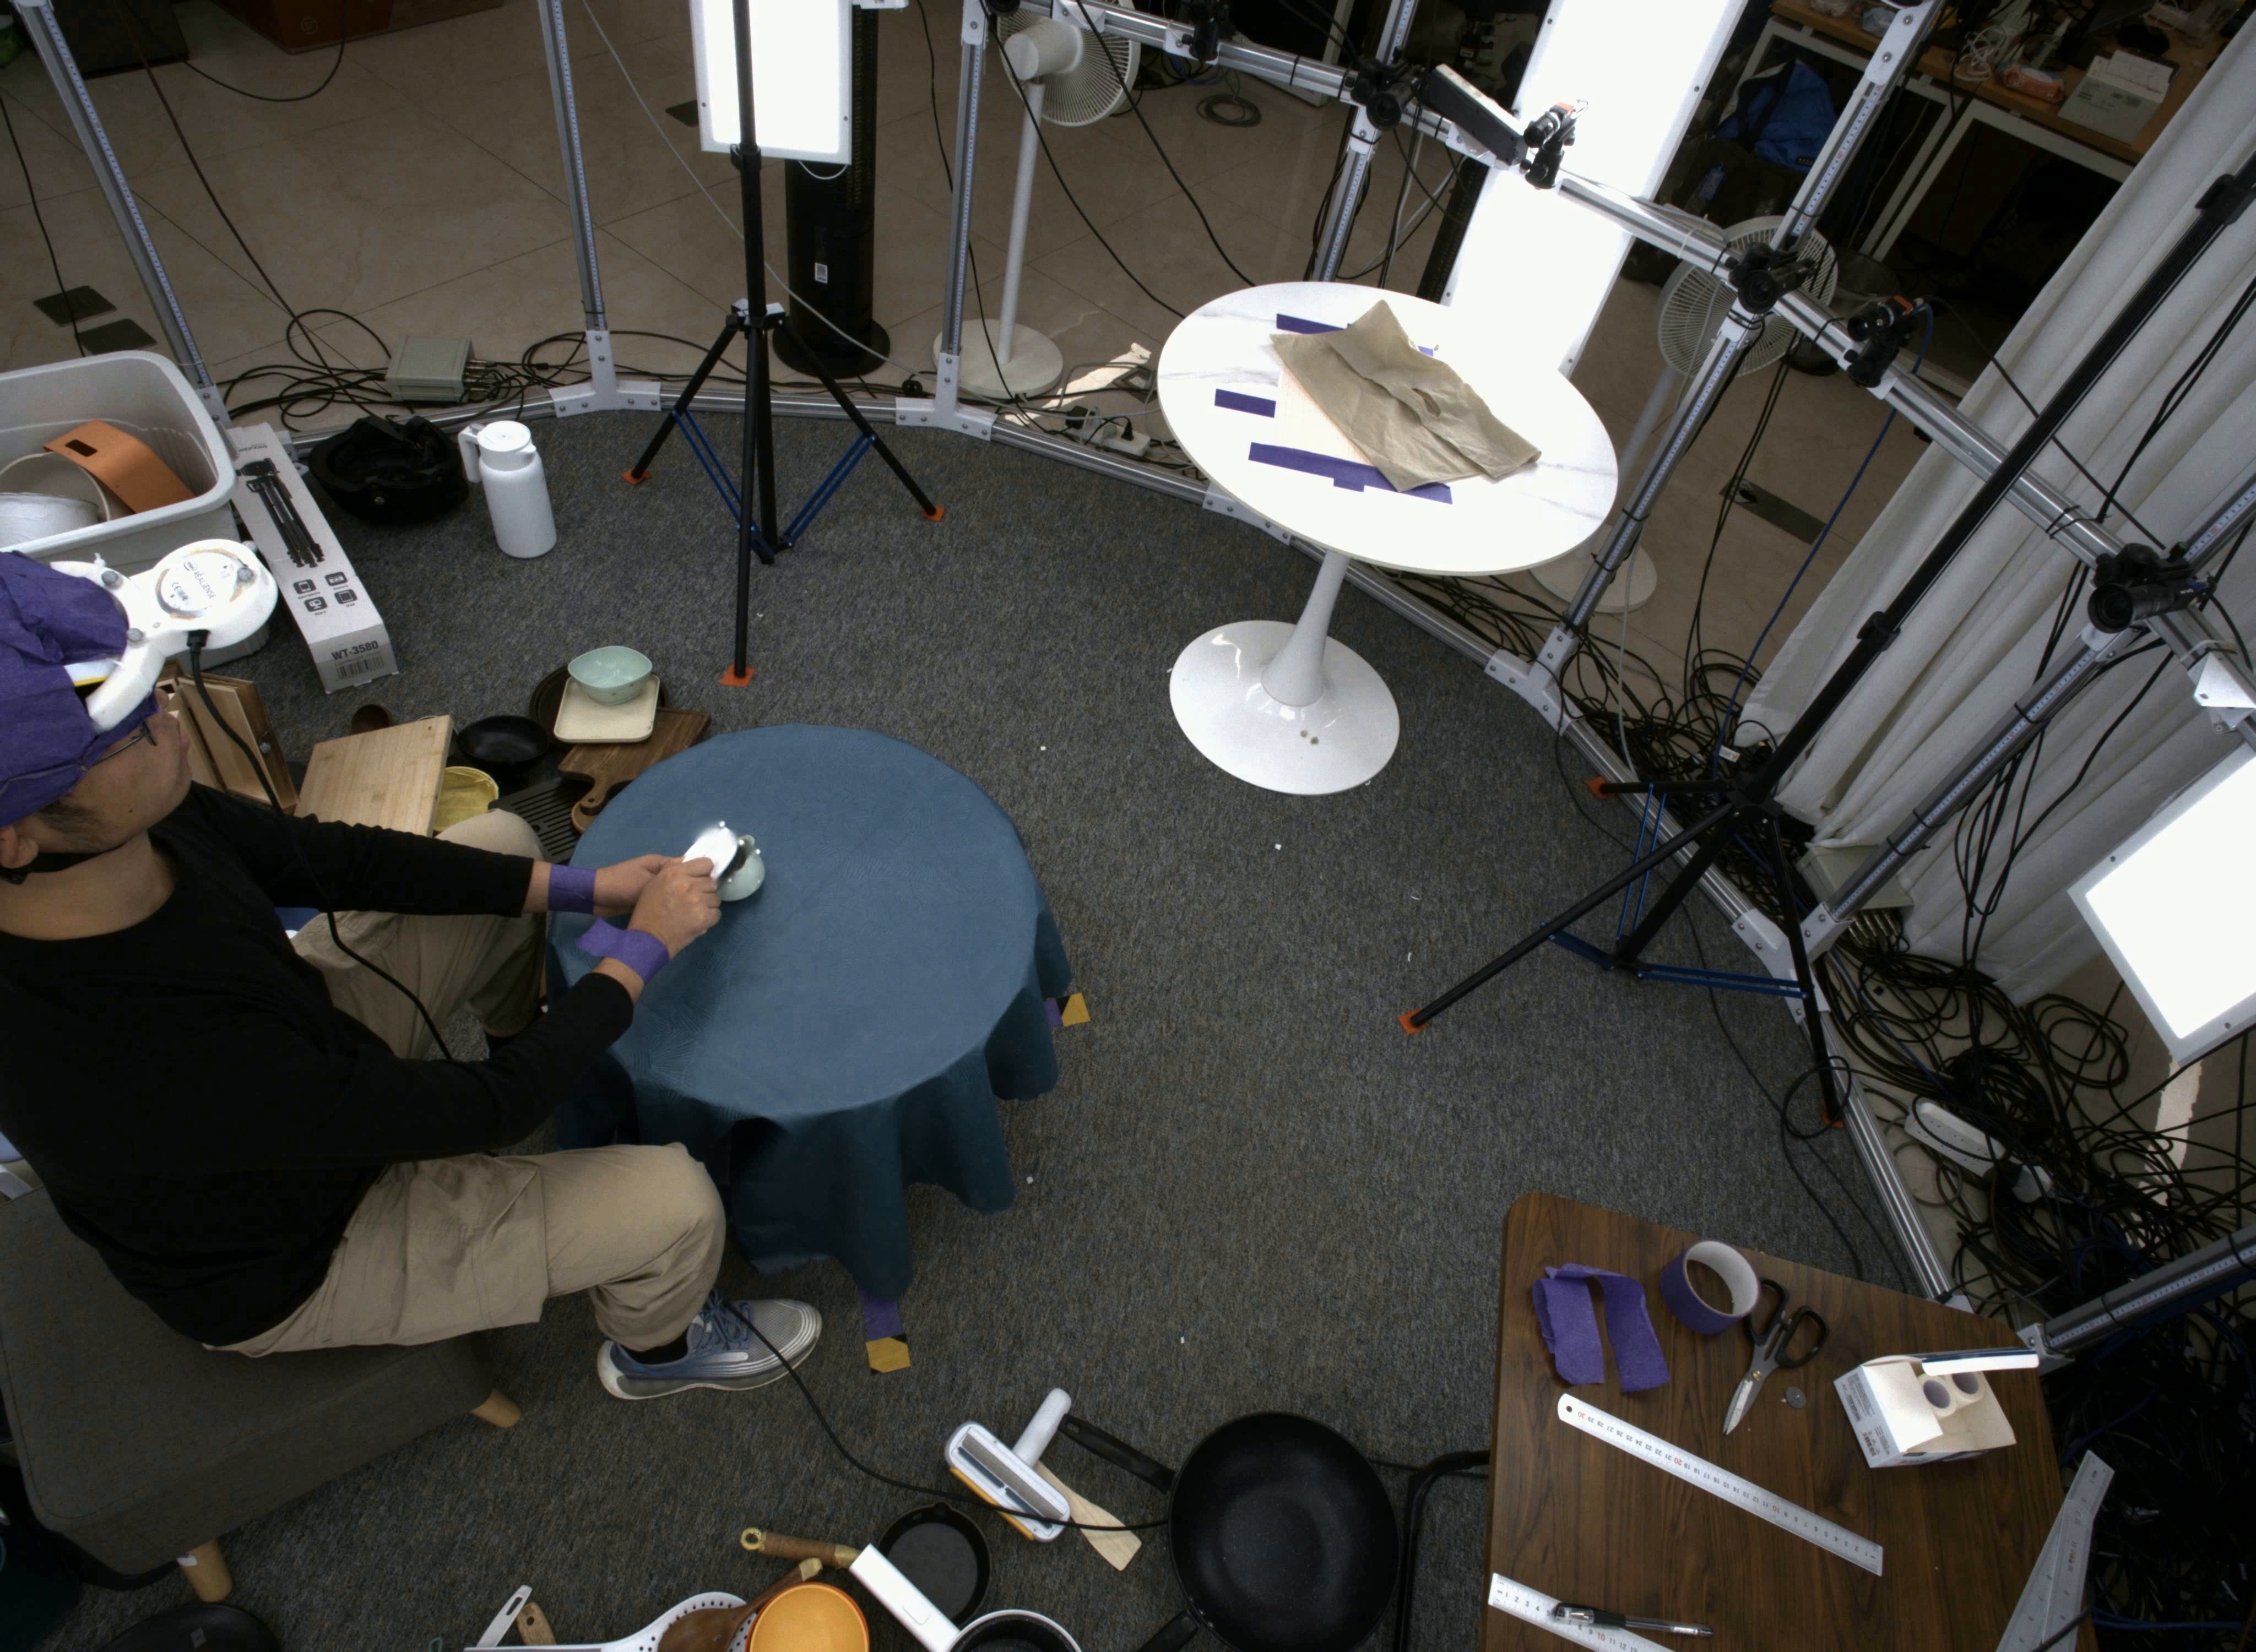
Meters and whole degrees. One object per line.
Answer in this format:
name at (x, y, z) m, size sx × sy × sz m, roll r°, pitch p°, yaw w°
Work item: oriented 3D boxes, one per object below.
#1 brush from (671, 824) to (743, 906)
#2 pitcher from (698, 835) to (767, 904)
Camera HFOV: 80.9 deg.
brush at (-0.506, 0.039, 1.542) m, size 0.050 × 0.073 × 0.099 m, roll 33°, pitch 65°, yaw 7°
pitcher at (-0.508, 0.060, 1.627) m, size 0.084 × 0.061 × 0.107 m, roll 31°, pitch 55°, yaw 11°
